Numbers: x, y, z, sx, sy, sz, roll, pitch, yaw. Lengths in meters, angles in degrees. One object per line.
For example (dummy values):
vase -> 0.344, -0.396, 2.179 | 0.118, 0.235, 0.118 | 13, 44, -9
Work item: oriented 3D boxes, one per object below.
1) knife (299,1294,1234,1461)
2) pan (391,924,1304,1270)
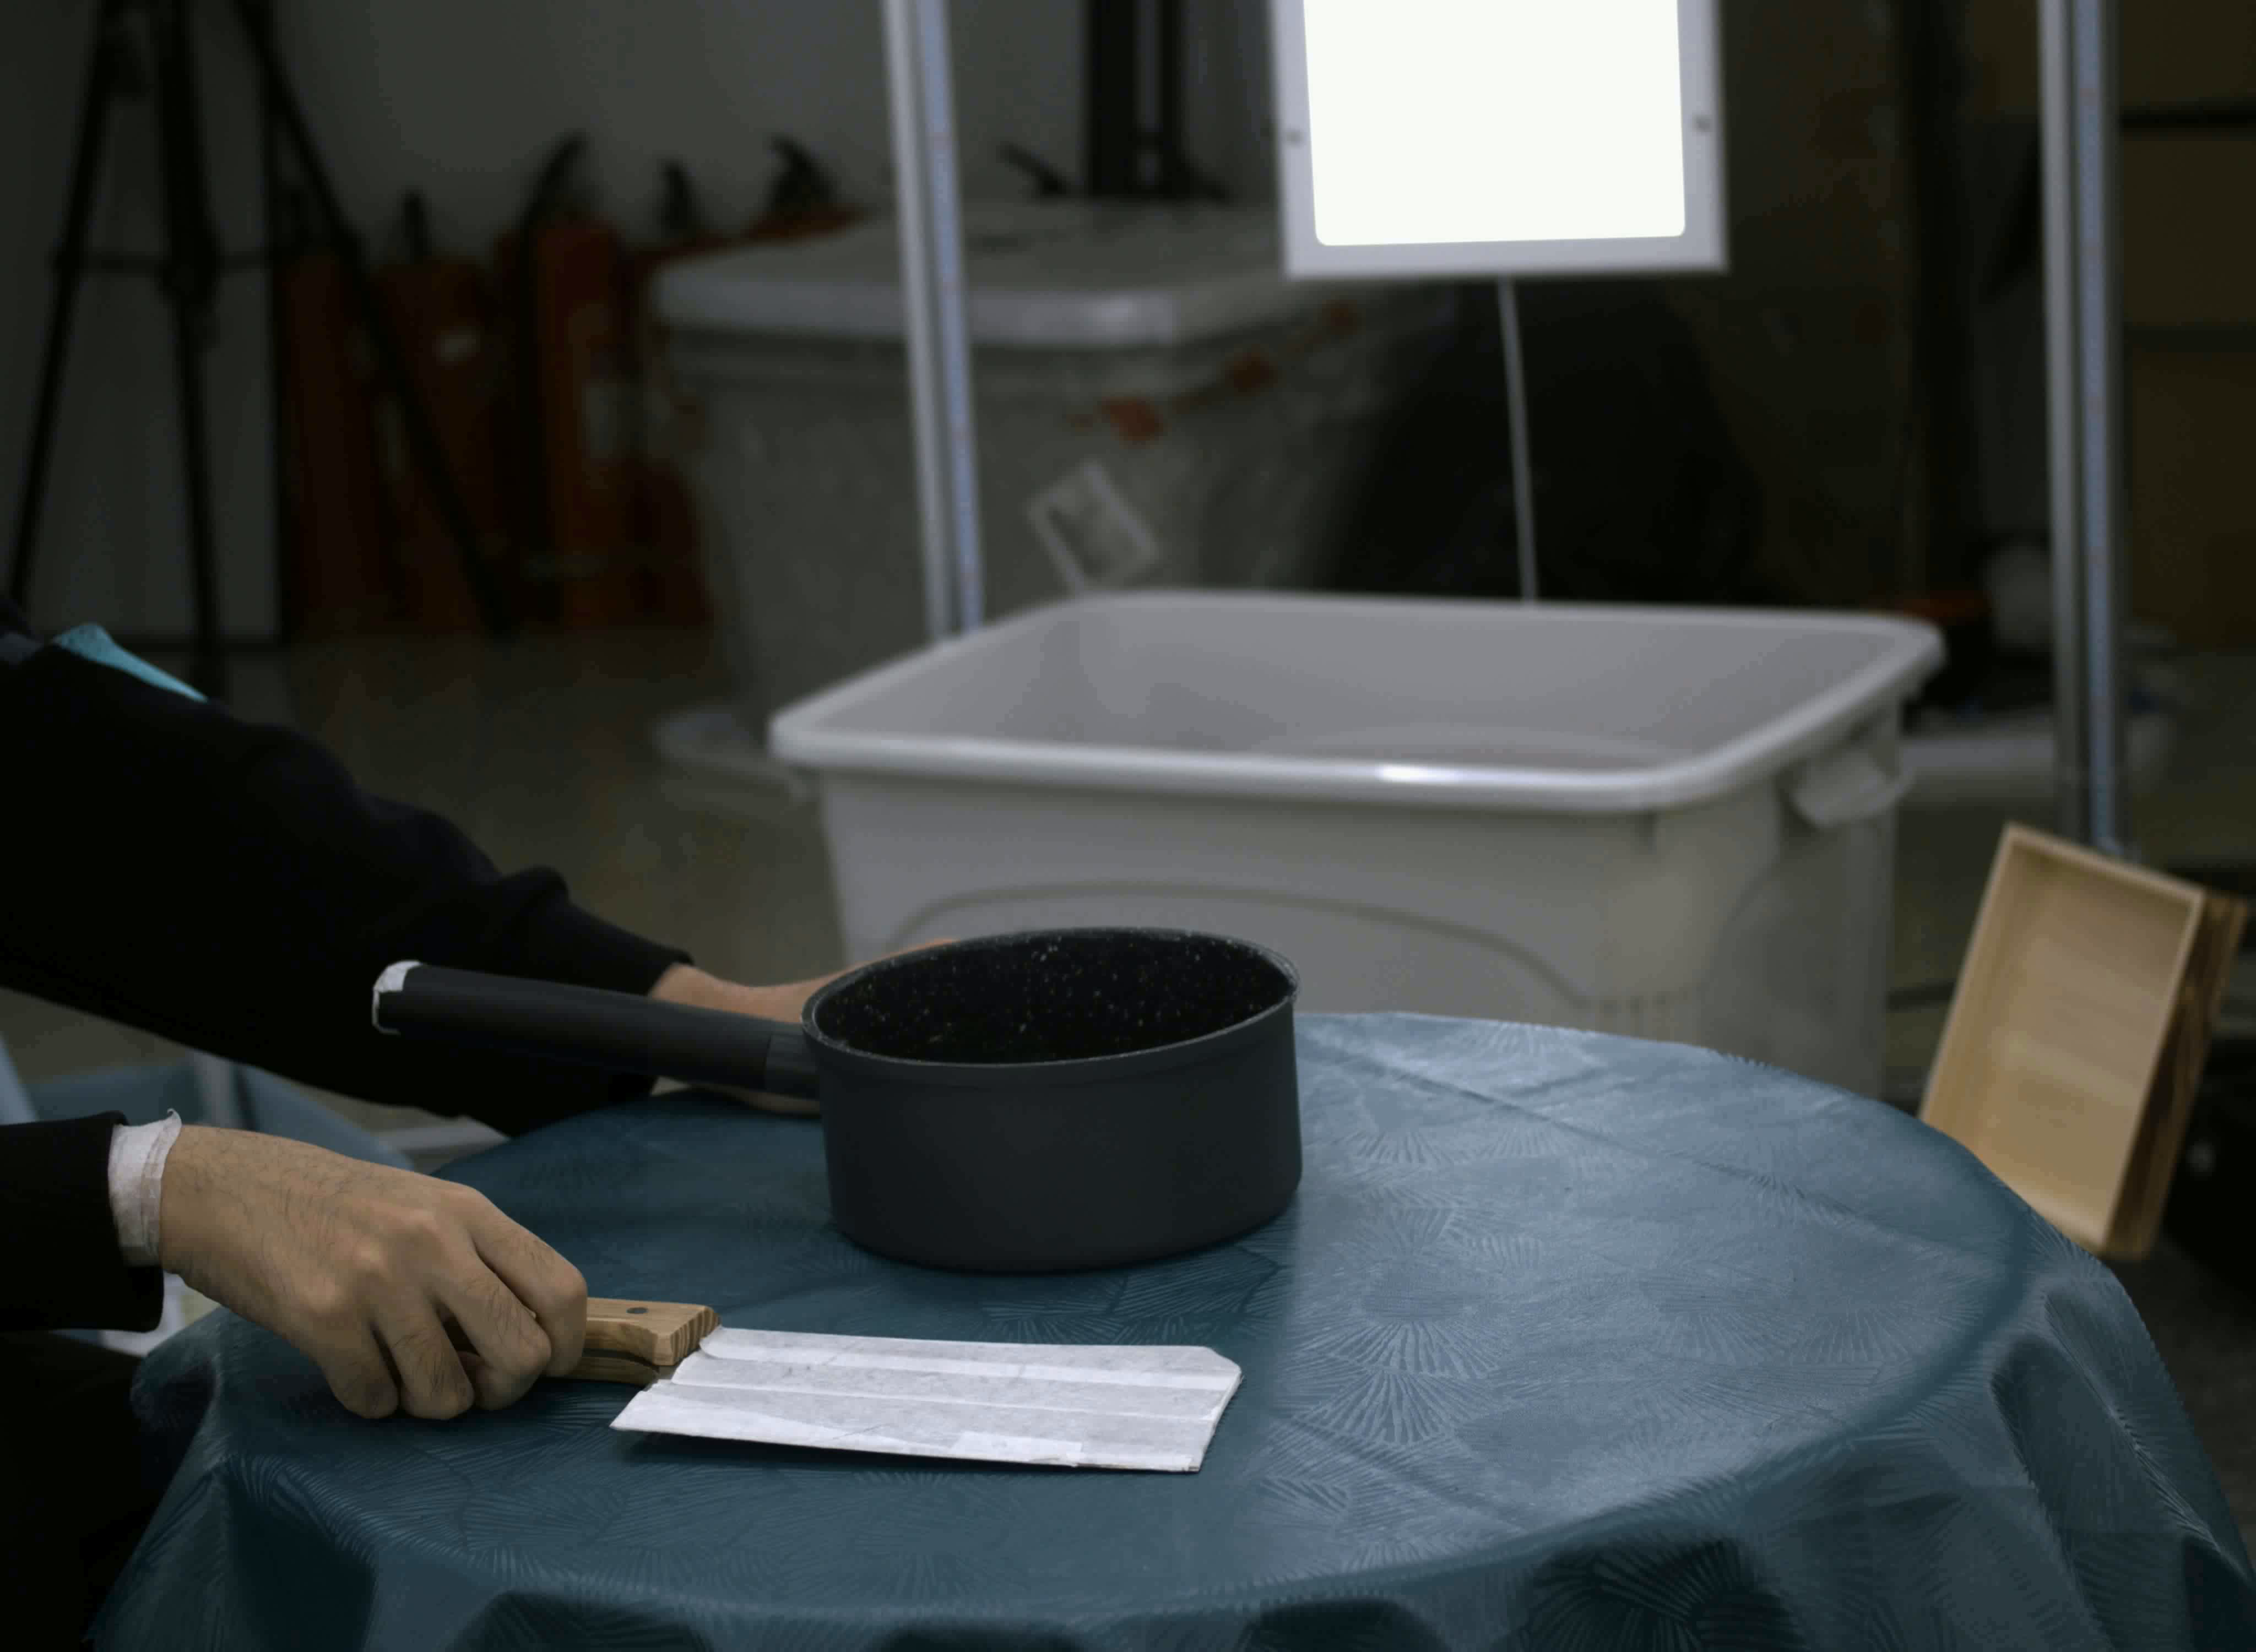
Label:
knife -> -0.114, 0.171, 1.721 | 0.319, 0.022, 0.112 | 3, 16, 21
pan -> -0.099, 0.090, 1.906 | 0.332, 0.087, 0.169 | 0, 13, 18
